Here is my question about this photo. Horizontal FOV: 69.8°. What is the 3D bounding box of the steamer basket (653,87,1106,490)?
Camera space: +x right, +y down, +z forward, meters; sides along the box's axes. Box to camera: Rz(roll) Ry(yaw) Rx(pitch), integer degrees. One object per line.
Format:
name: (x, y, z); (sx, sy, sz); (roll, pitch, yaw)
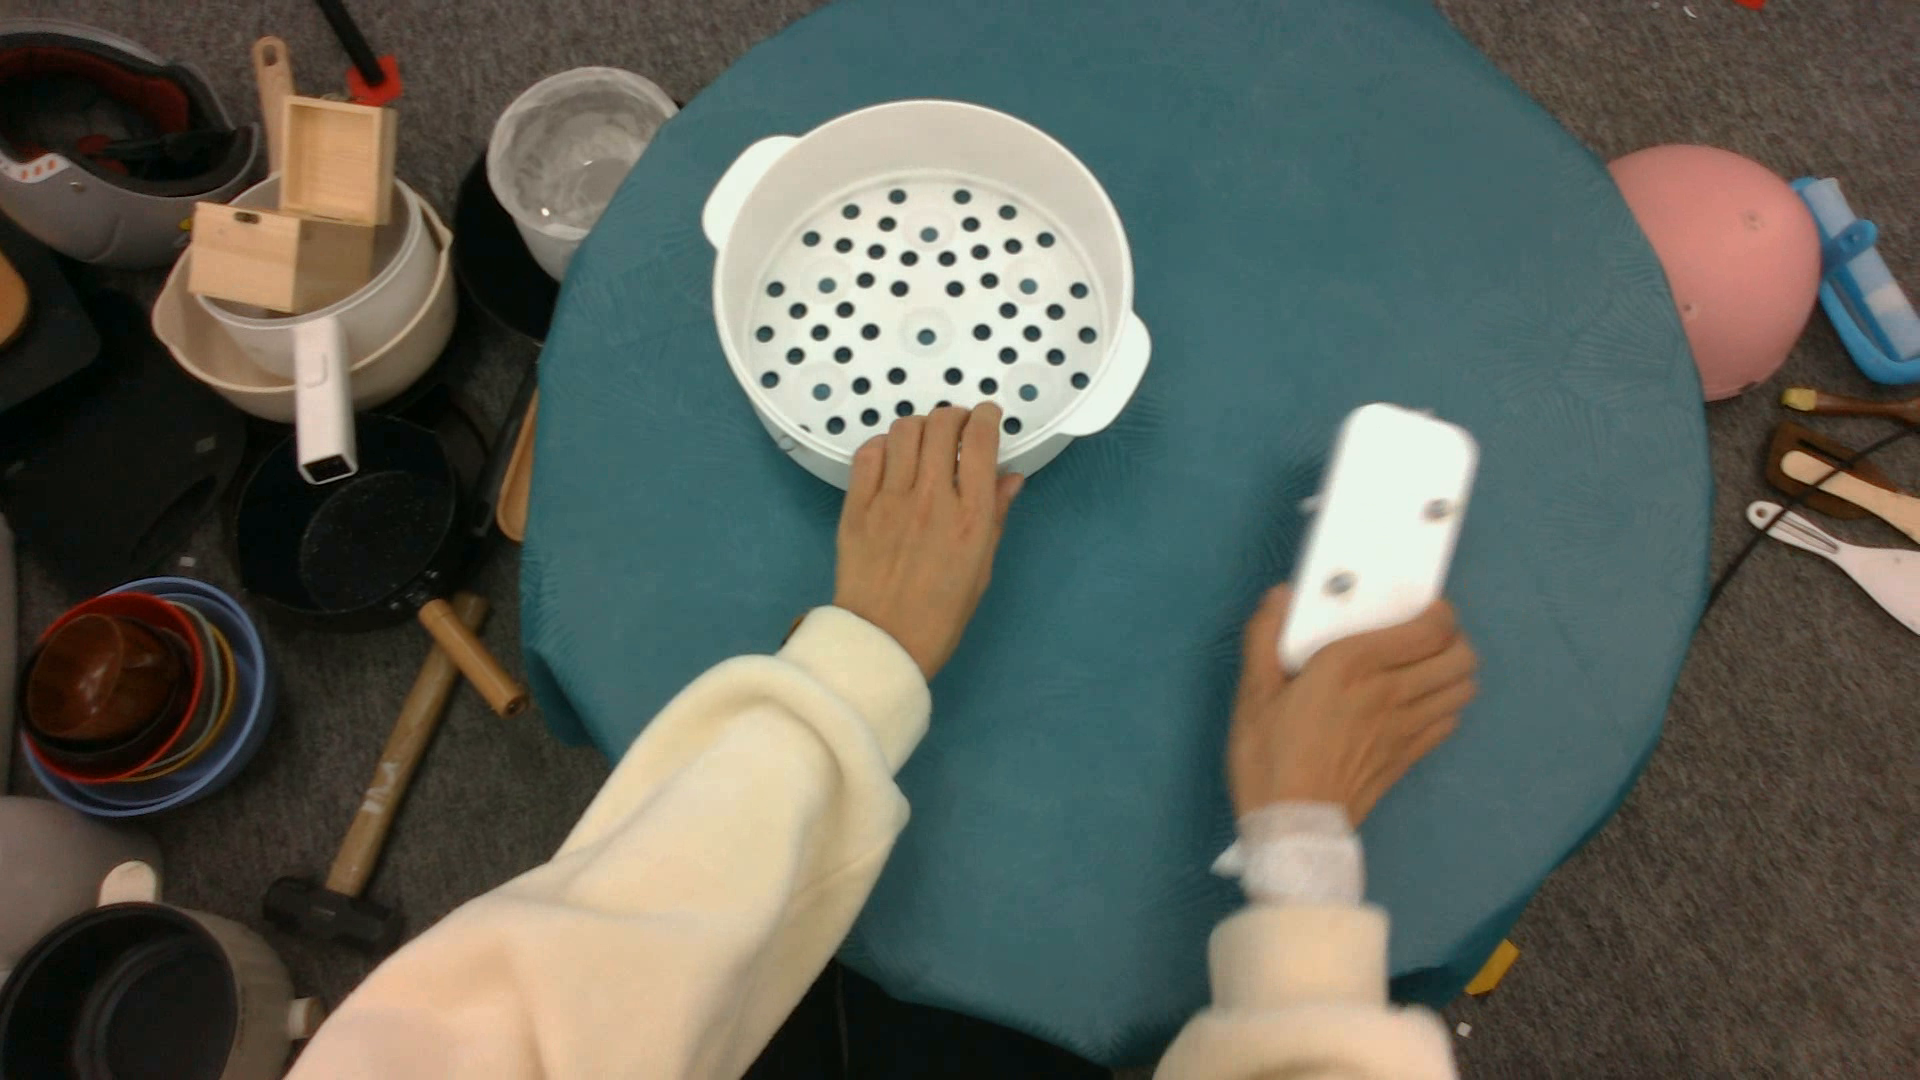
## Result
steamer basket: (-0.040, -0.123, 0.684); (0.230, 0.069, 0.202); (28, 73, 9)

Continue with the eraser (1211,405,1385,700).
eraser: (0.154, 0.005, 0.633); (0.063, 0.034, 0.131); (13, 83, -7)
